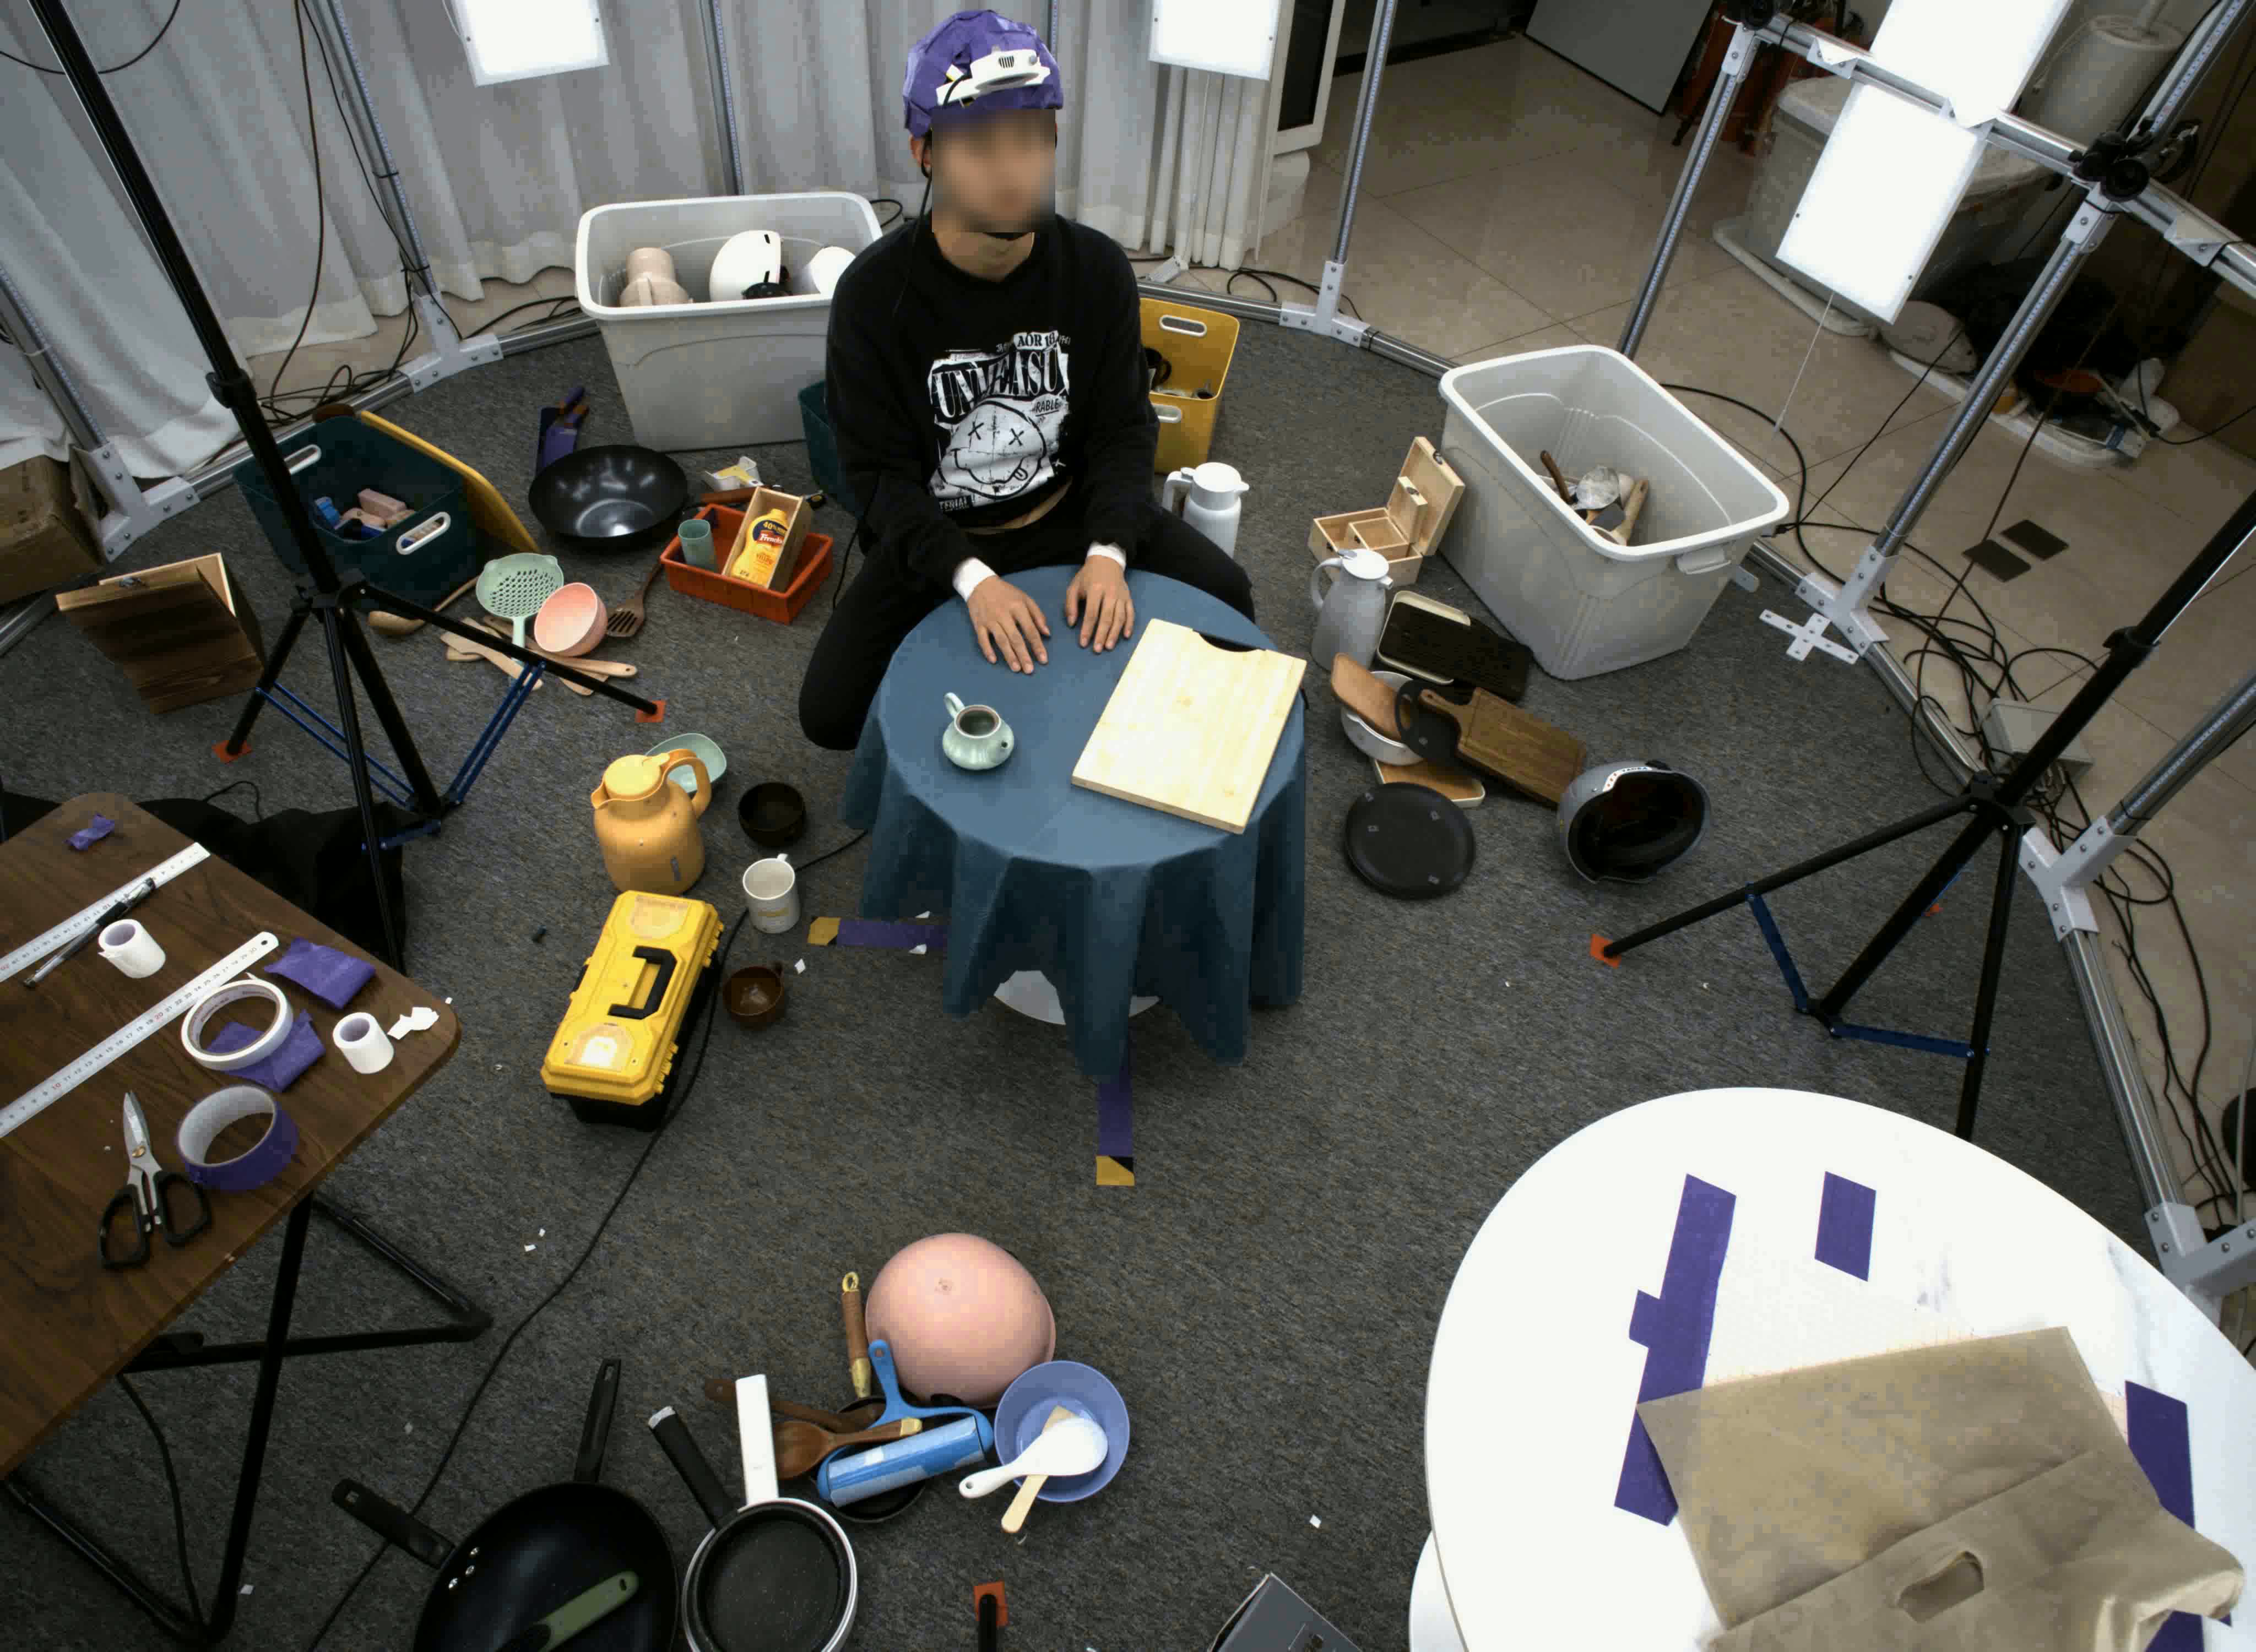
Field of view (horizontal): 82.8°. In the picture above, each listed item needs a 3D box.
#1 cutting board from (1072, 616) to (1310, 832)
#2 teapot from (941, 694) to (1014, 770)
[{"bbox_3d":[0.095,-0.153,1.797,0.251,0.023,0.356,16,50,10],"label":"cutting board"},{"bbox_3d":[-0.205,-0.125,1.726,0.097,0.060,0.139,-35,60,-27],"label":"teapot"}]
